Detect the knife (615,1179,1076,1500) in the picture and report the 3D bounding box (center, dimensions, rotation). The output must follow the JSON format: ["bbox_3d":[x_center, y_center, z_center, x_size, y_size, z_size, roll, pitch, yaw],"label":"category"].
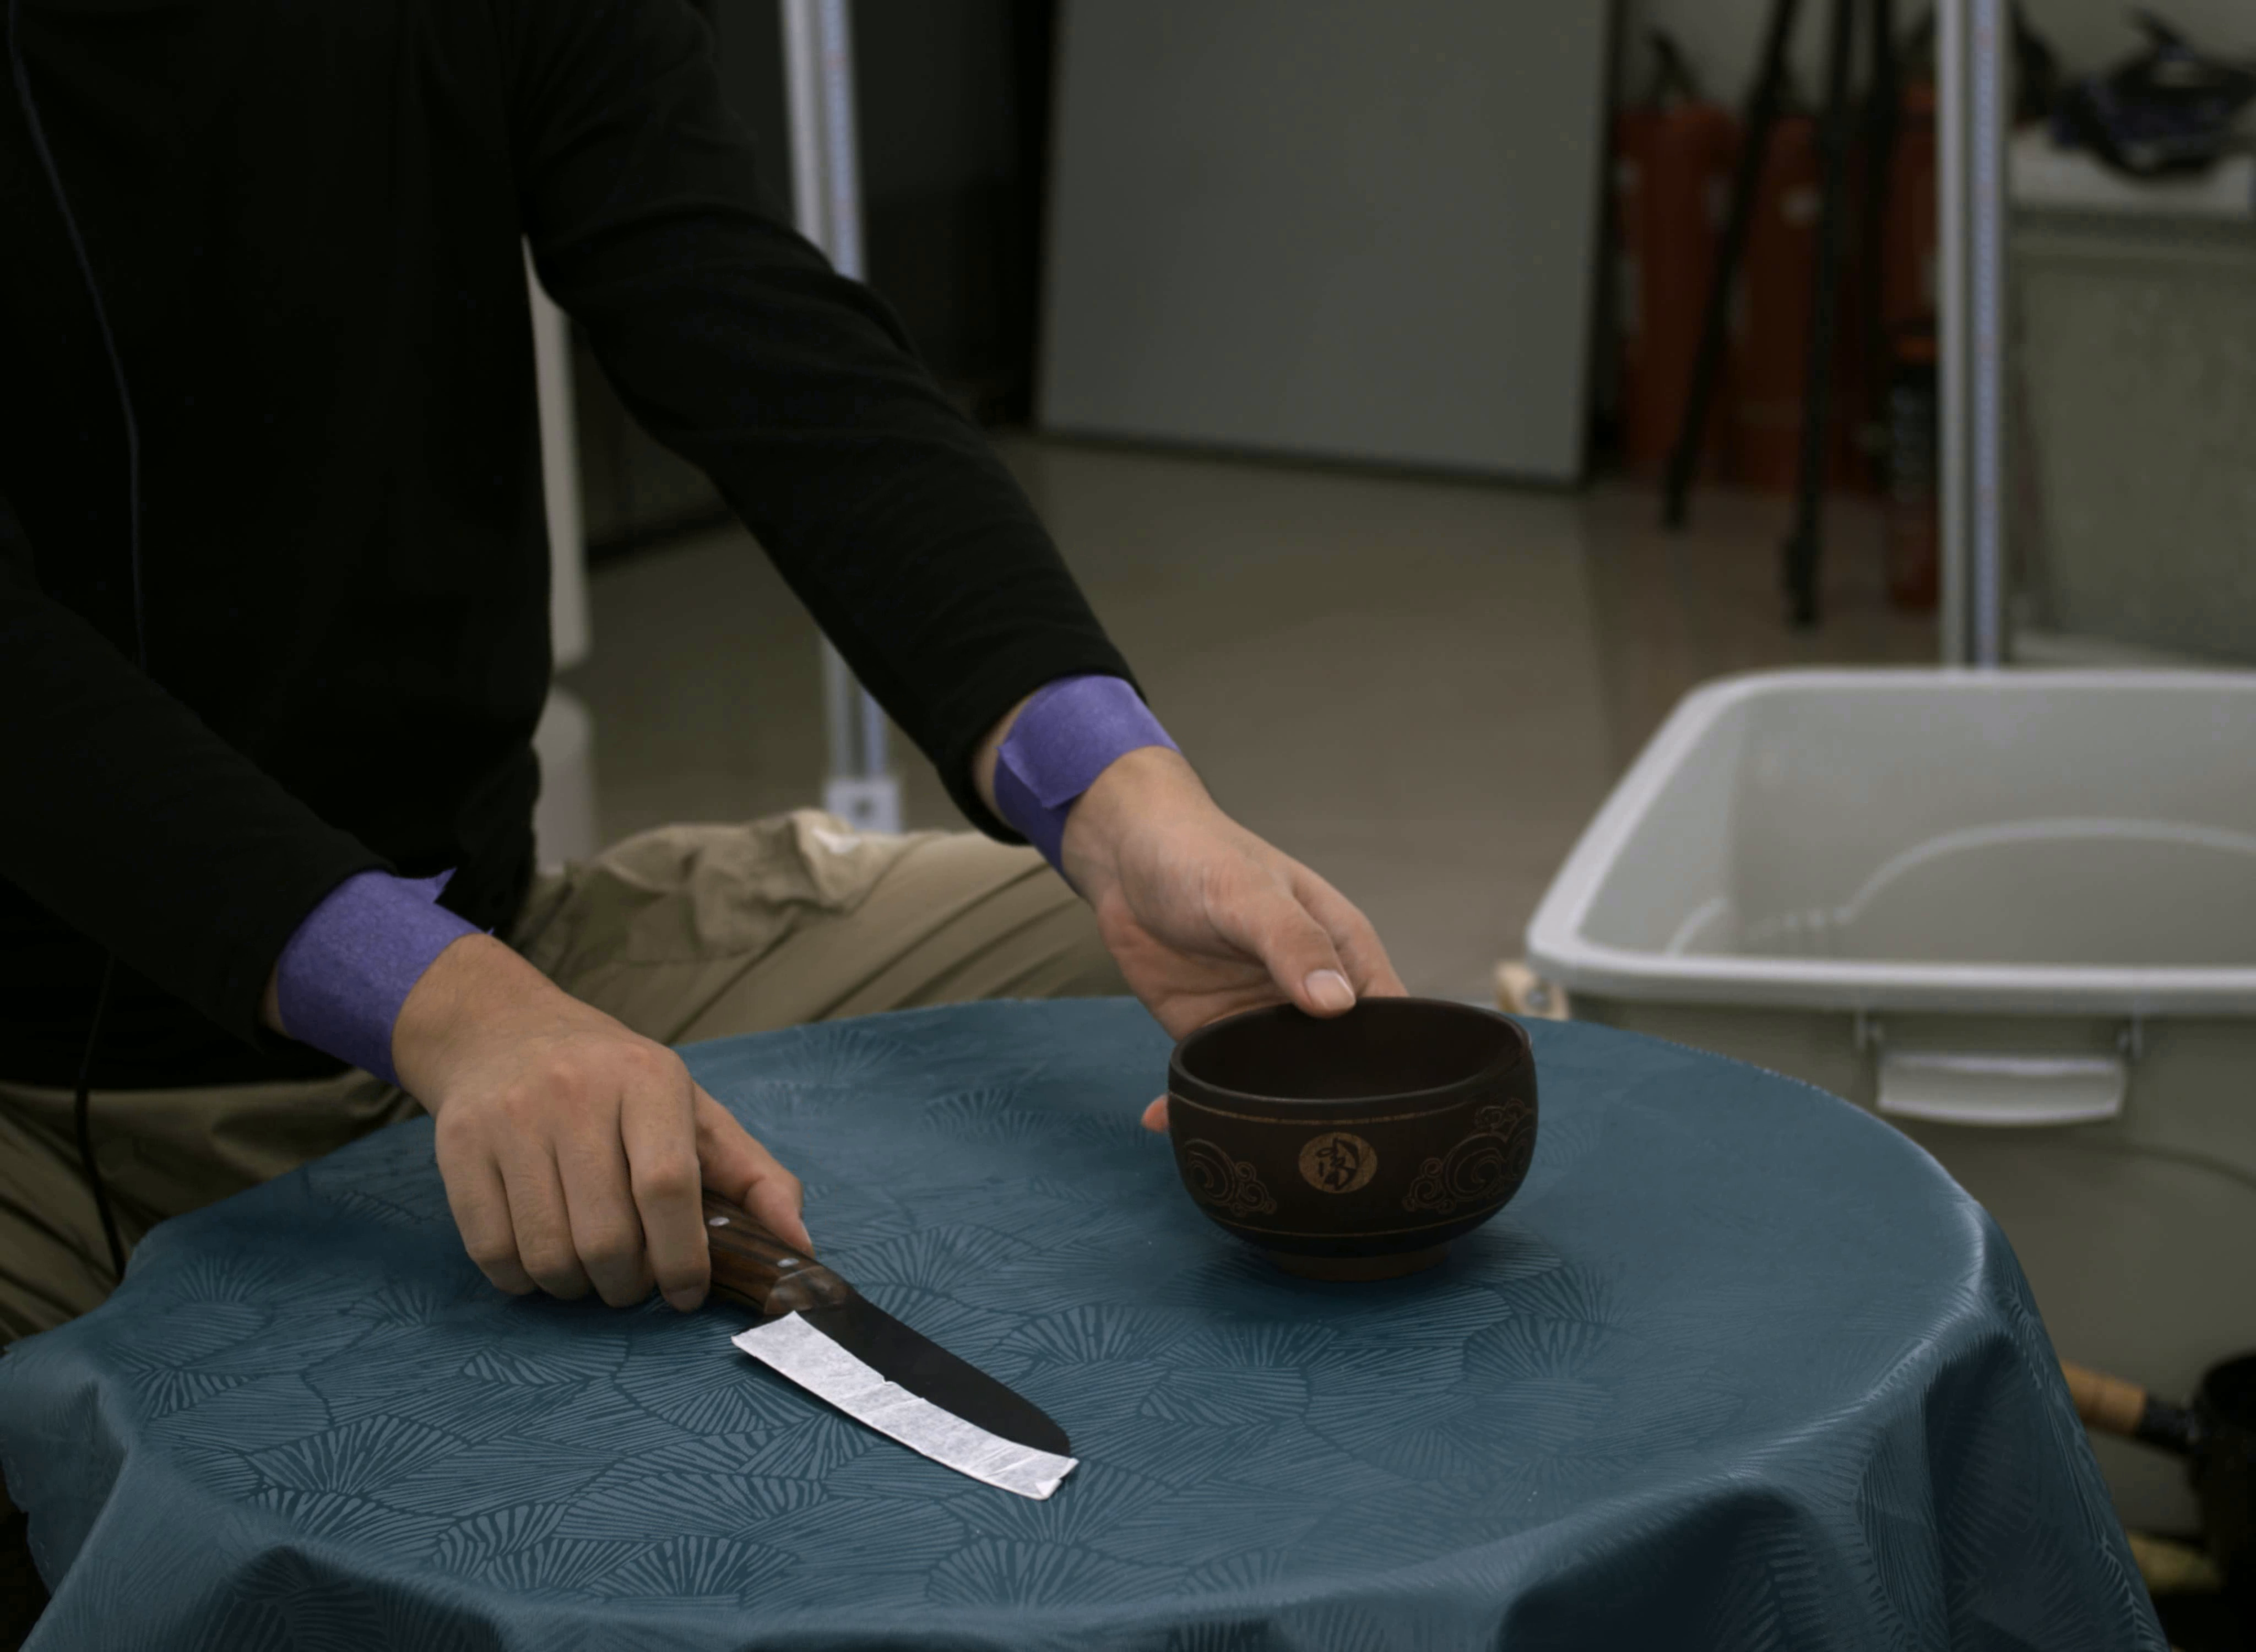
[{"bbox_3d":[-0.089,0.155,1.634,0.049,0.020,0.292,-19,21,-24],"label":"knife"}]

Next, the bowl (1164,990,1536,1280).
[{"bbox_3d":[0.071,0.100,1.689,0.116,0.070,0.118,-5,13,0],"label":"bowl"}]
